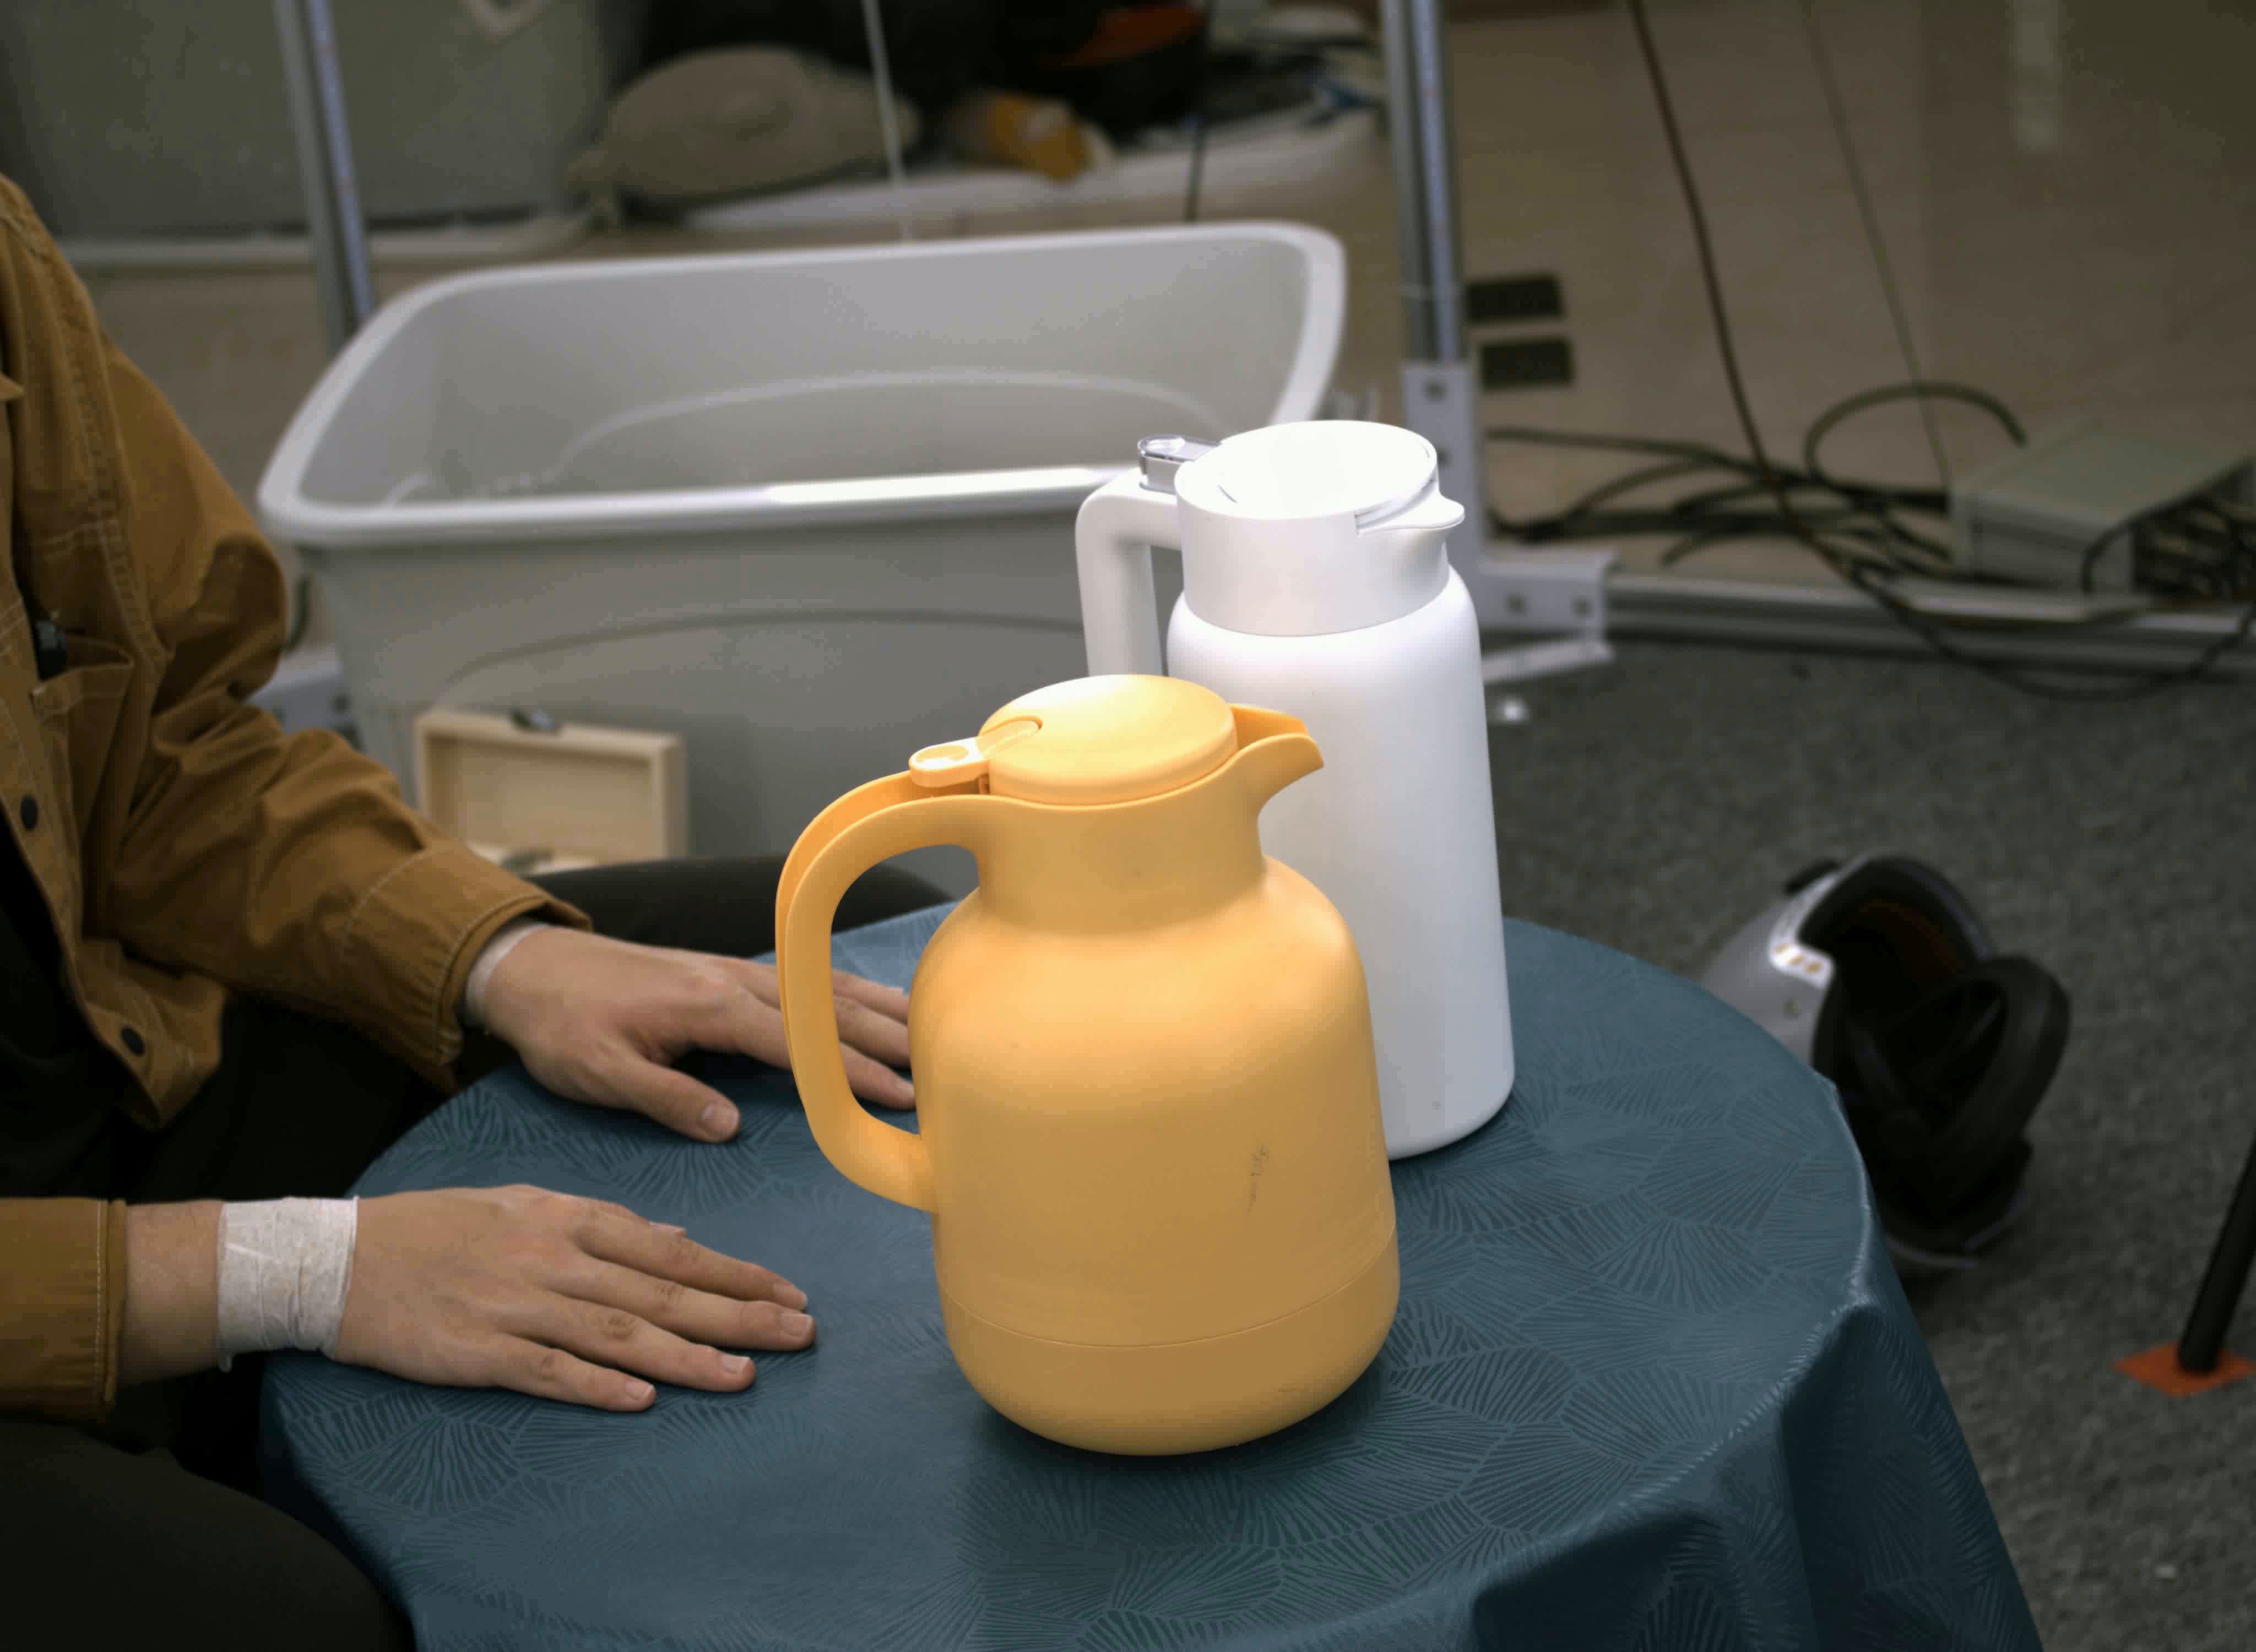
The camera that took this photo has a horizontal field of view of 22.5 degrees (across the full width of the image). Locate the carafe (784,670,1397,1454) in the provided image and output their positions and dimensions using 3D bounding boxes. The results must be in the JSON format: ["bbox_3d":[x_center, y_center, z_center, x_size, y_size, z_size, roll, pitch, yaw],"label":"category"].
[{"bbox_3d":[-0.014,0.080,1.965,0.202,0.264,0.161,-8,23,-6],"label":"carafe"}]

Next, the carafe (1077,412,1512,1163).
[{"bbox_3d":[0.064,-0.015,2.144,0.172,0.273,0.122,13,34,34],"label":"carafe"}]
